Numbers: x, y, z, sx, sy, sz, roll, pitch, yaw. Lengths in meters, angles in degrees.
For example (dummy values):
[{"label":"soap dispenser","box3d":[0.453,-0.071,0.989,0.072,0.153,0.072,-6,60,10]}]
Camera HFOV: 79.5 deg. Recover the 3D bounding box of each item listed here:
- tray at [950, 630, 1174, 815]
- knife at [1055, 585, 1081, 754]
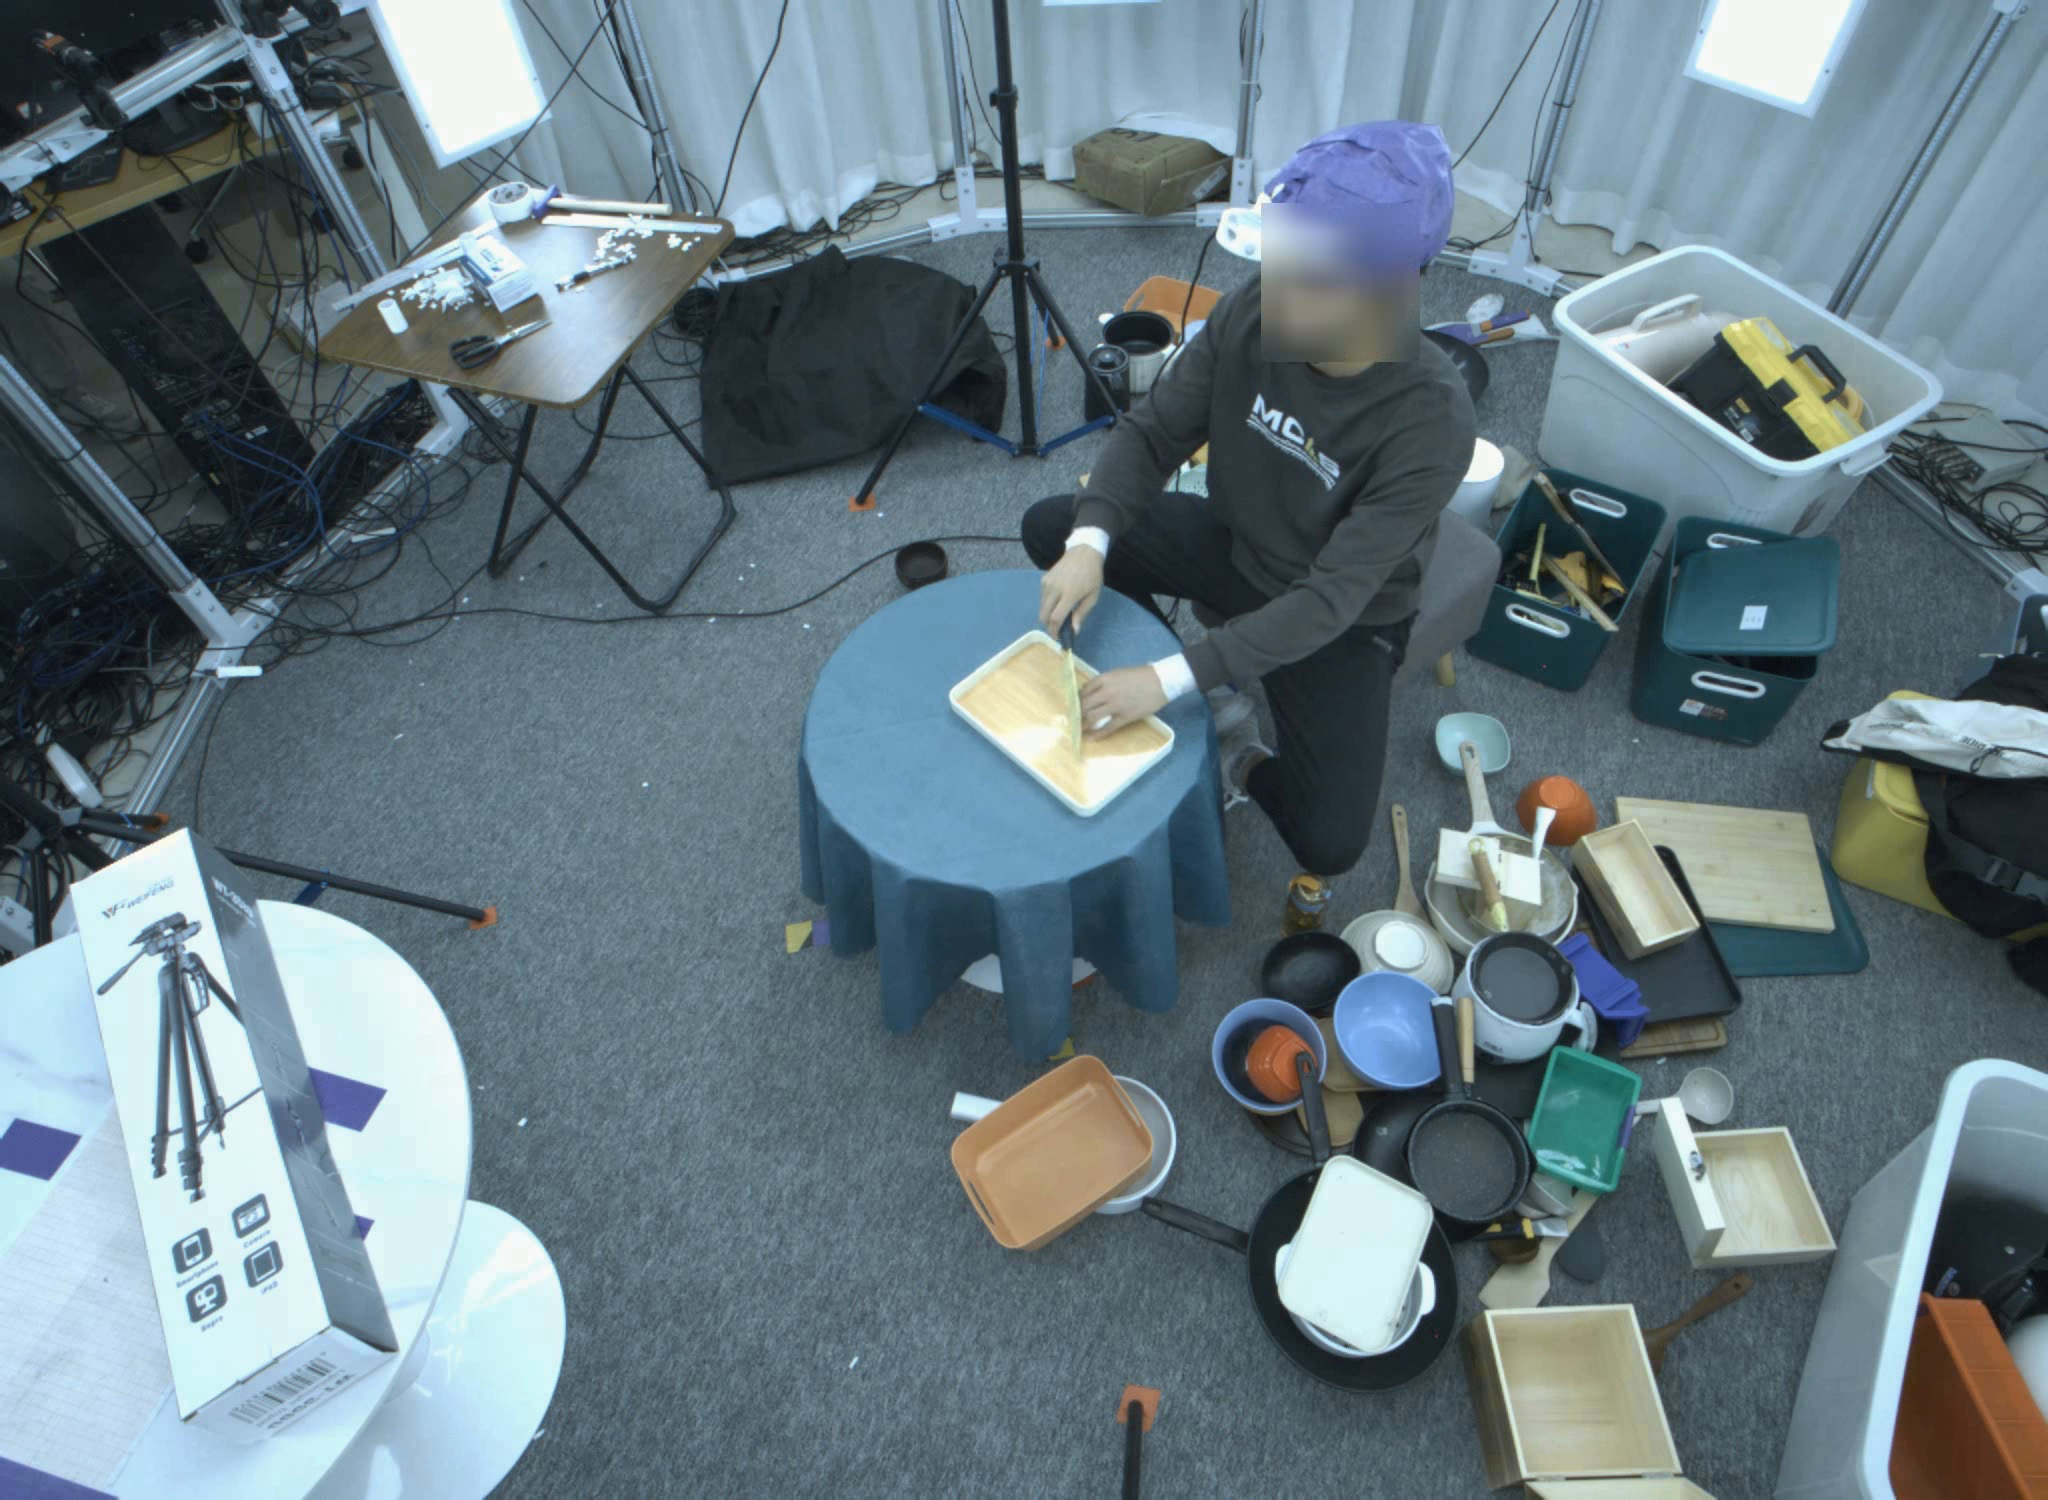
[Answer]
[{"label":"tray","box3d":[0.053,-0.046,1.811,0.193,0.027,0.295,-38,62,-24]},{"label":"knife","box3d":[0.065,-0.120,1.804,0.027,0.081,0.286,1,60,-10]}]
